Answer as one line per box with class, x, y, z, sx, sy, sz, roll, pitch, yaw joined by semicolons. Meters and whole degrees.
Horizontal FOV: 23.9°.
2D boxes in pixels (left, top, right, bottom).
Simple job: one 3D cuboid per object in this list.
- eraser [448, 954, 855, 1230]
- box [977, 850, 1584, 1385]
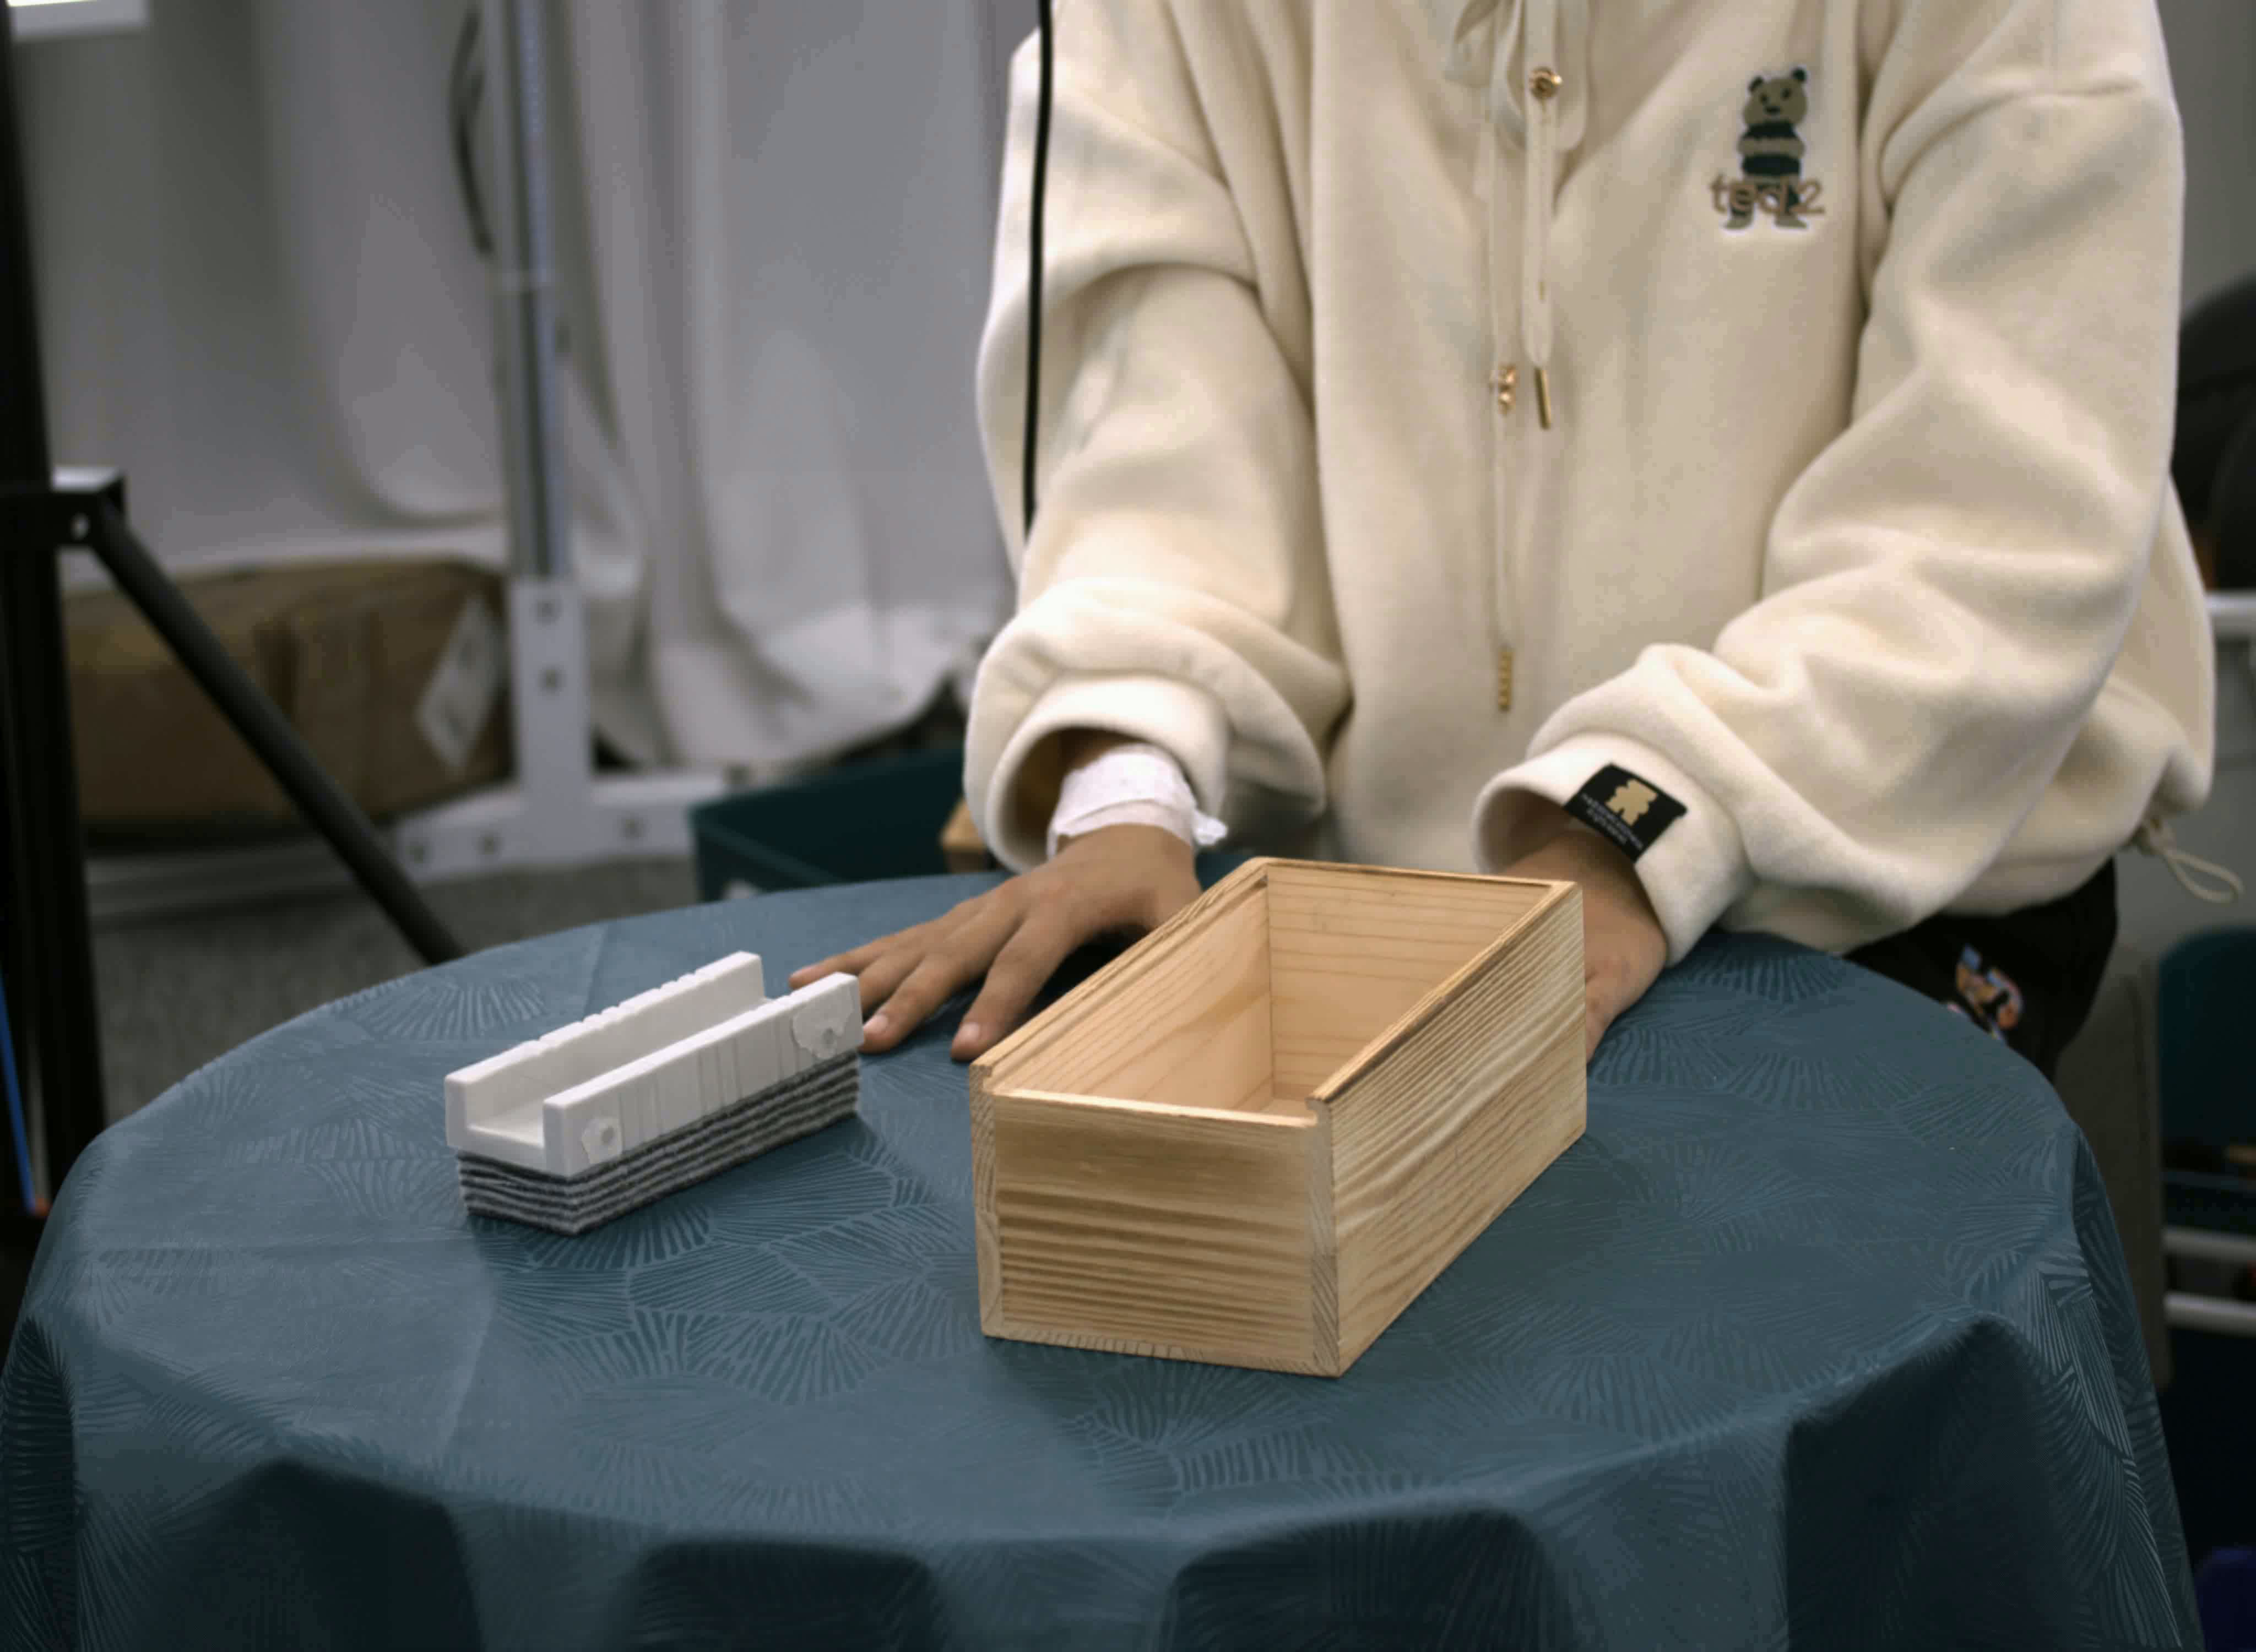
eraser;-0.141;0.078;1.600;0.051;0.046;0.131;6;19;35
box;0.048;0.078;1.510;0.109;0.080;0.208;5;18;22
